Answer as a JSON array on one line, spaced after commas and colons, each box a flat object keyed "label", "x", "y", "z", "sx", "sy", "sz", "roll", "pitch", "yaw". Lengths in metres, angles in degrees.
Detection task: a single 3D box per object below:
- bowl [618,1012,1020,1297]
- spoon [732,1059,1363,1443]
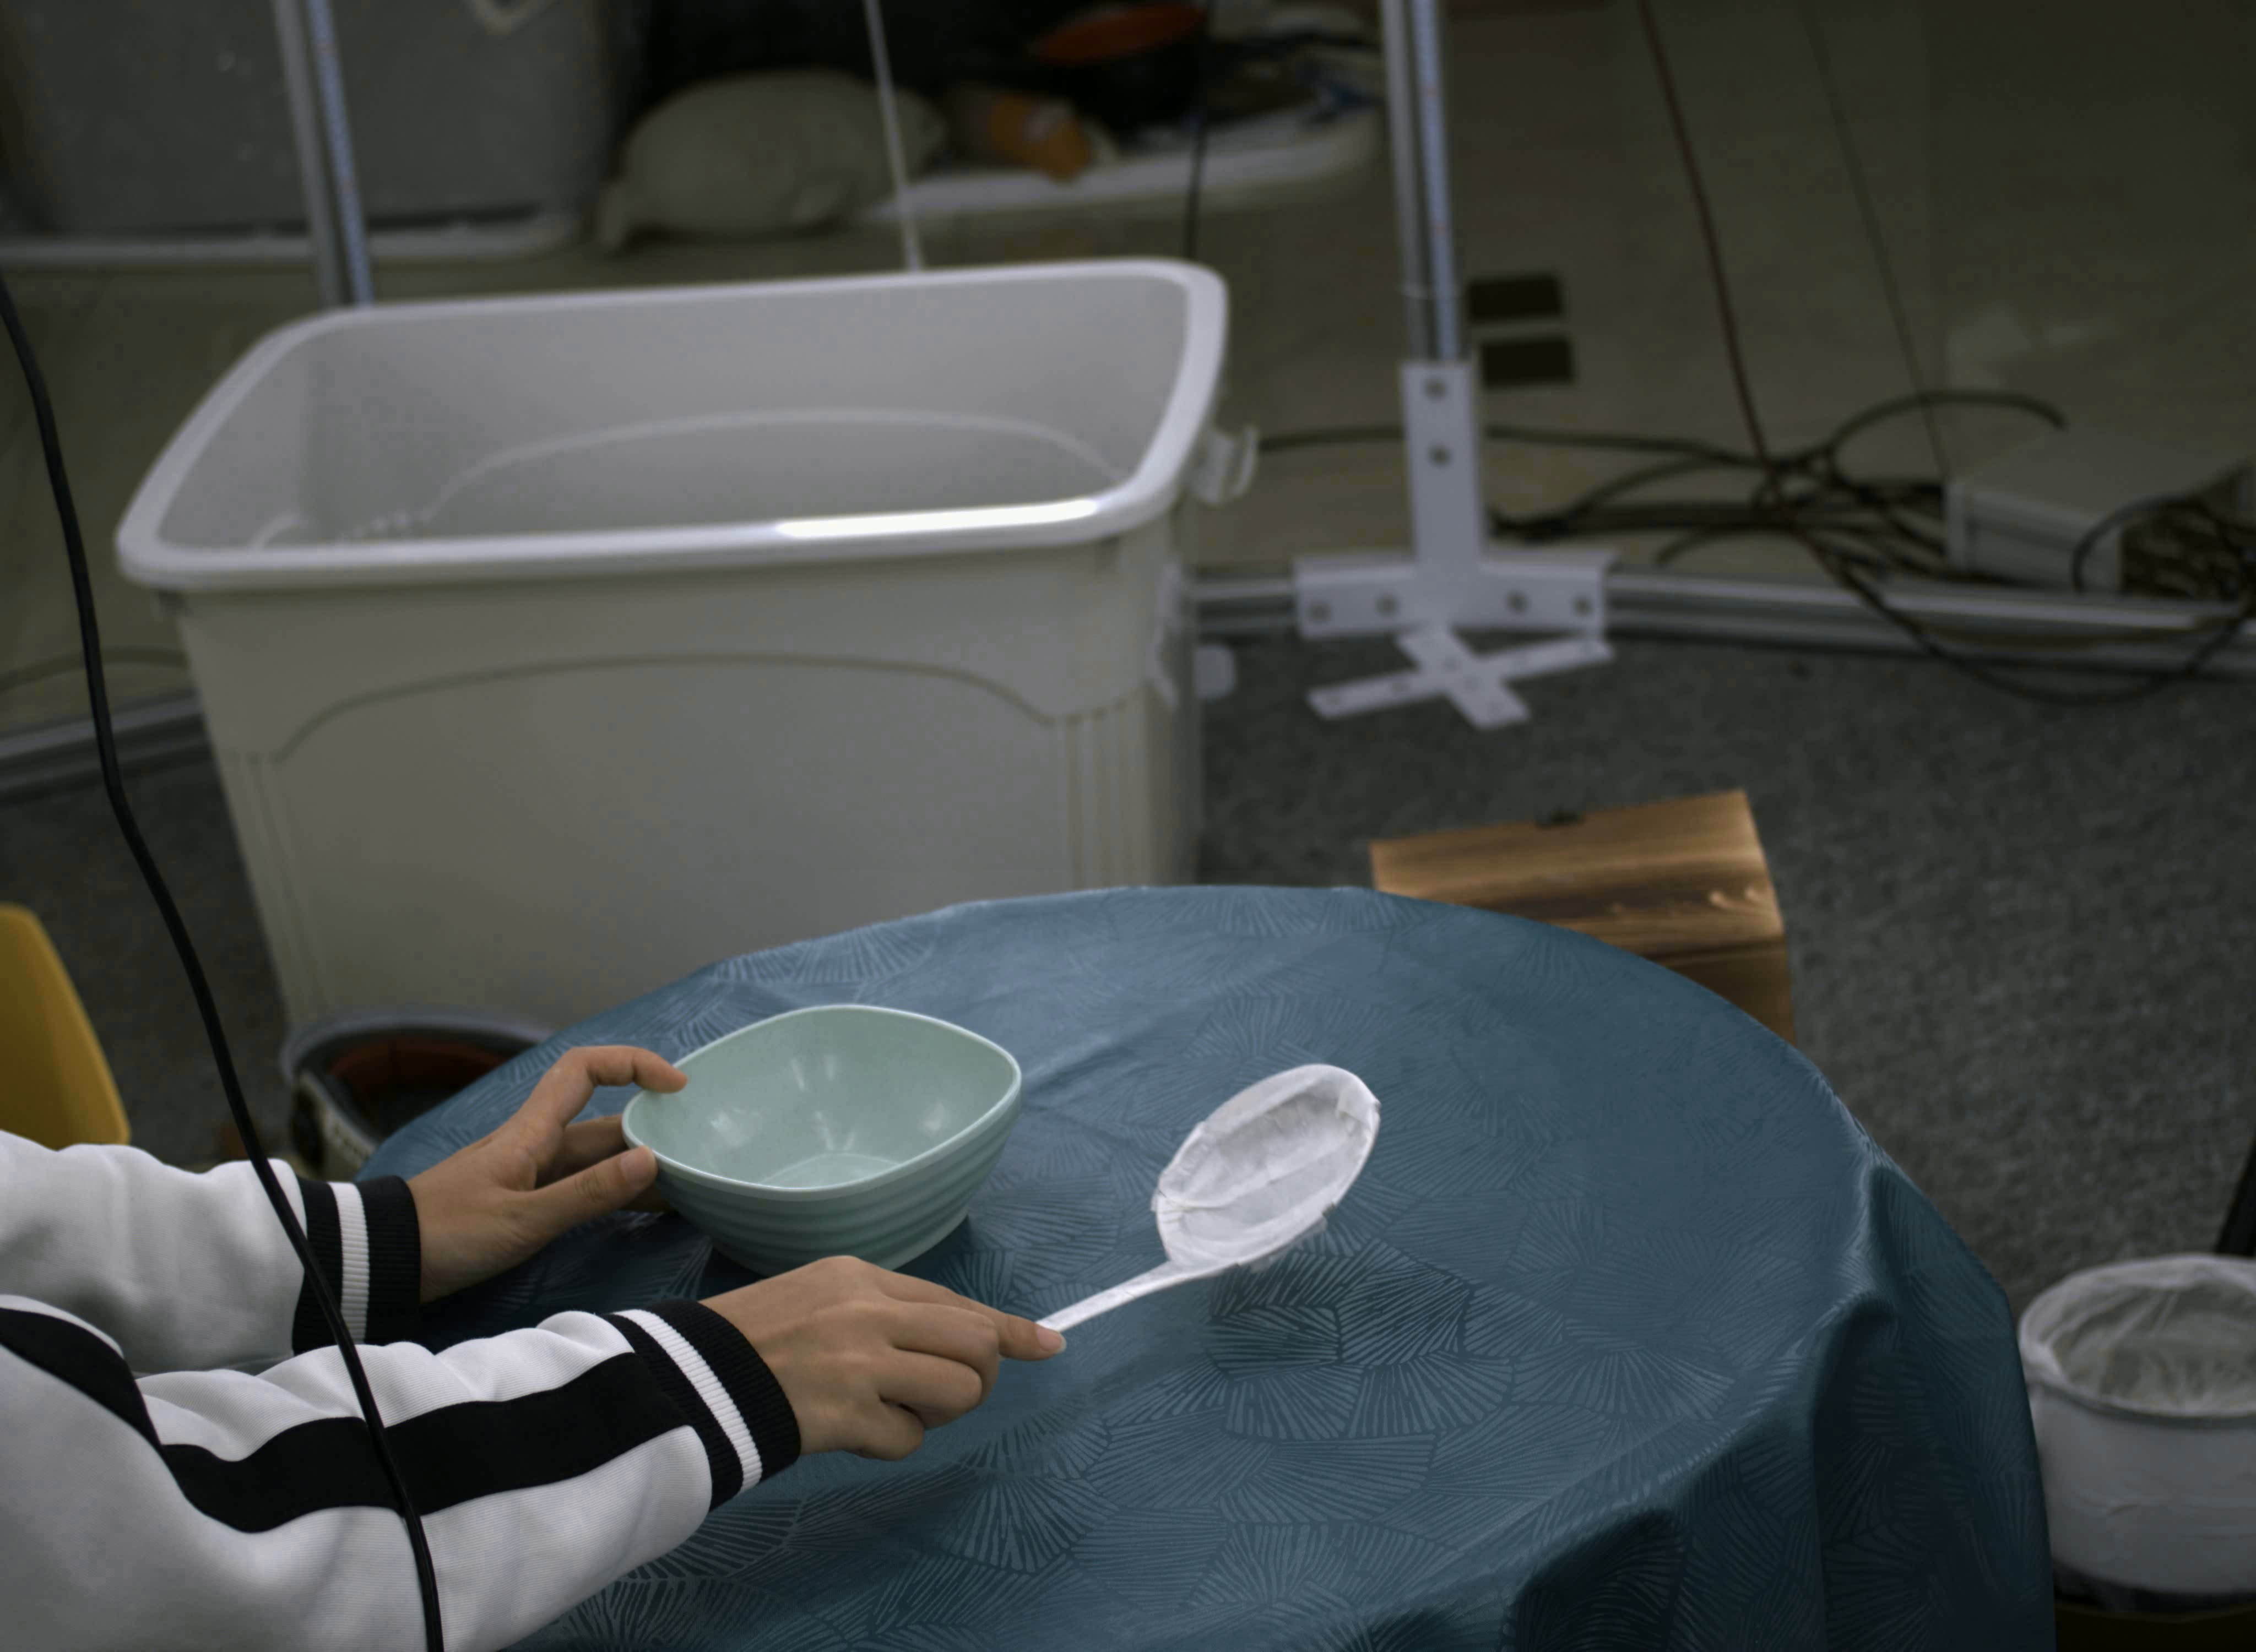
[{"label": "bowl", "x": -0.113, "y": 0.129, "z": 2.135, "sx": 0.151, "sy": 0.059, "sz": 0.149, "roll": -5, "pitch": 25, "yaw": 2}, {"label": "spoon", "x": -0.032, "y": 0.147, "z": 1.996, "sx": 0.276, "sy": 0.060, "sz": 0.100, "roll": -18, "pitch": 11, "yaw": -35}]
